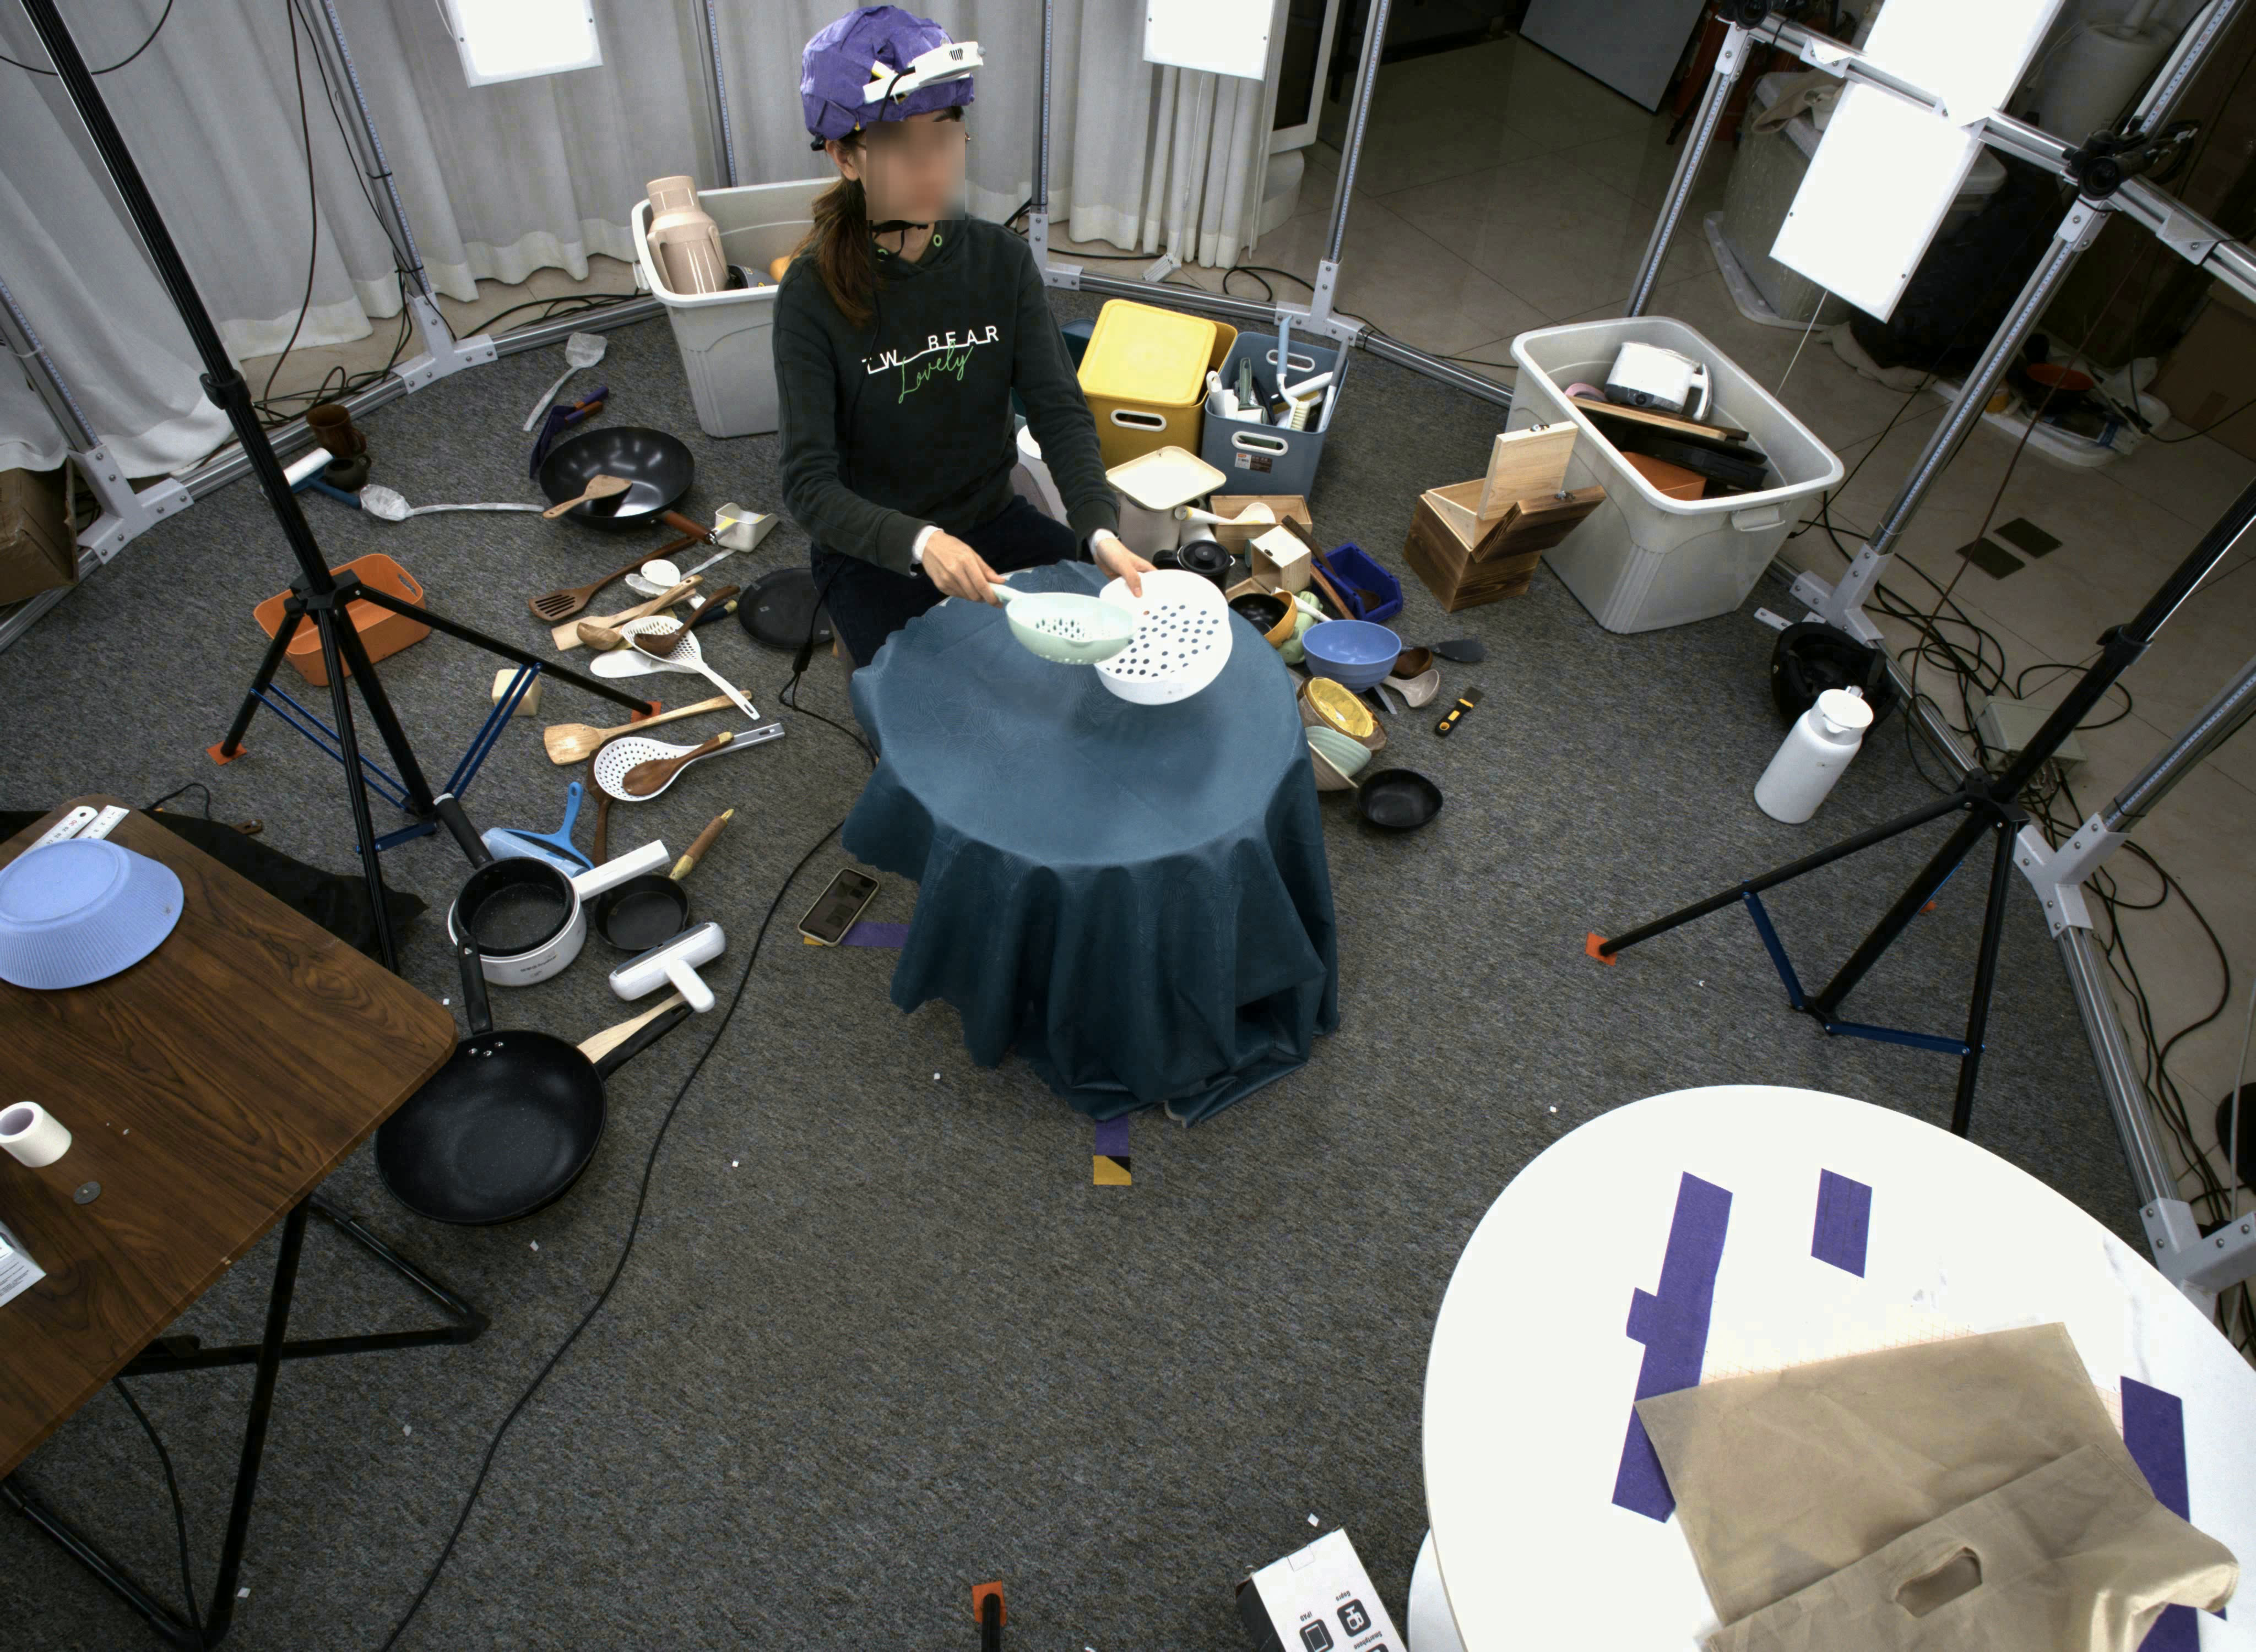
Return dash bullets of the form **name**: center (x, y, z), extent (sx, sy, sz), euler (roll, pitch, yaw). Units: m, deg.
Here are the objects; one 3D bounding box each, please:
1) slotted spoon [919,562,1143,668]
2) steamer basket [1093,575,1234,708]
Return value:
- **slotted spoon**: center (-0.149, -0.294, 1.701), extent (0.364, 0.074, 0.170), euler (34, 35, 28)
- **steamer basket**: center (0.047, -0.252, 1.770), extent (0.202, 0.067, 0.235), euler (-31, 52, -9)
